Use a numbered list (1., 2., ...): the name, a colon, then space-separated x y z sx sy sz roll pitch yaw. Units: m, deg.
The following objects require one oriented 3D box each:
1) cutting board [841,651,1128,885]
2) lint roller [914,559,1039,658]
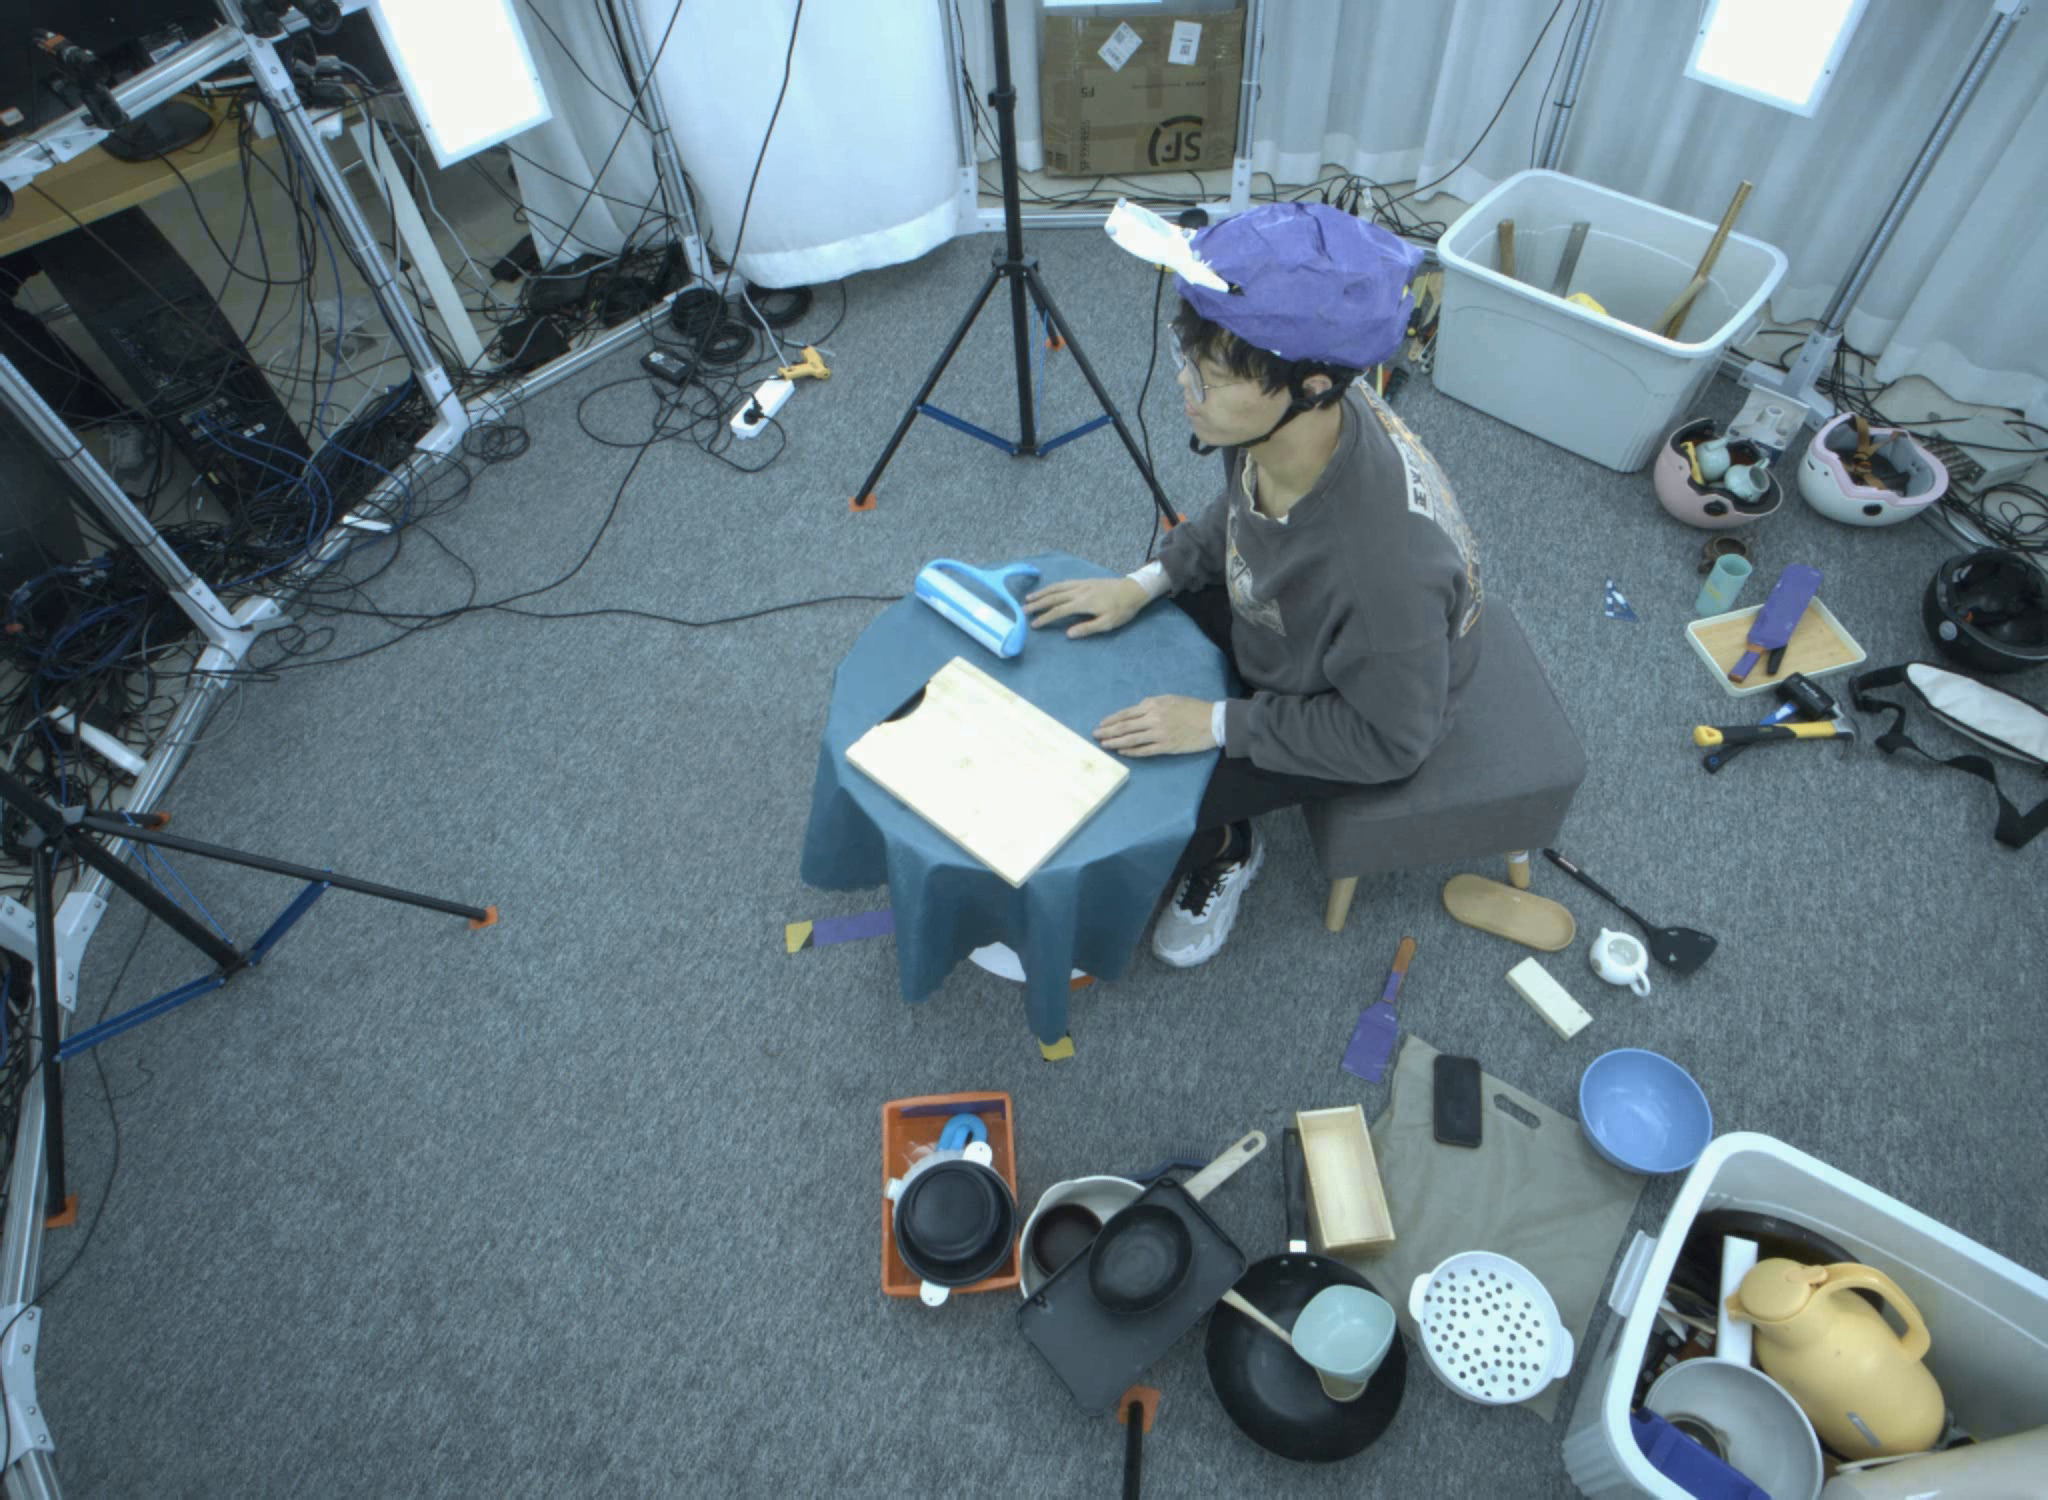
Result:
1. cutting board: -0.059 0.017 1.765 0.342 0.024 0.252 34 62 23
2. lint roller: -0.048 -0.252 1.933 0.225 0.069 0.181 35 64 25
